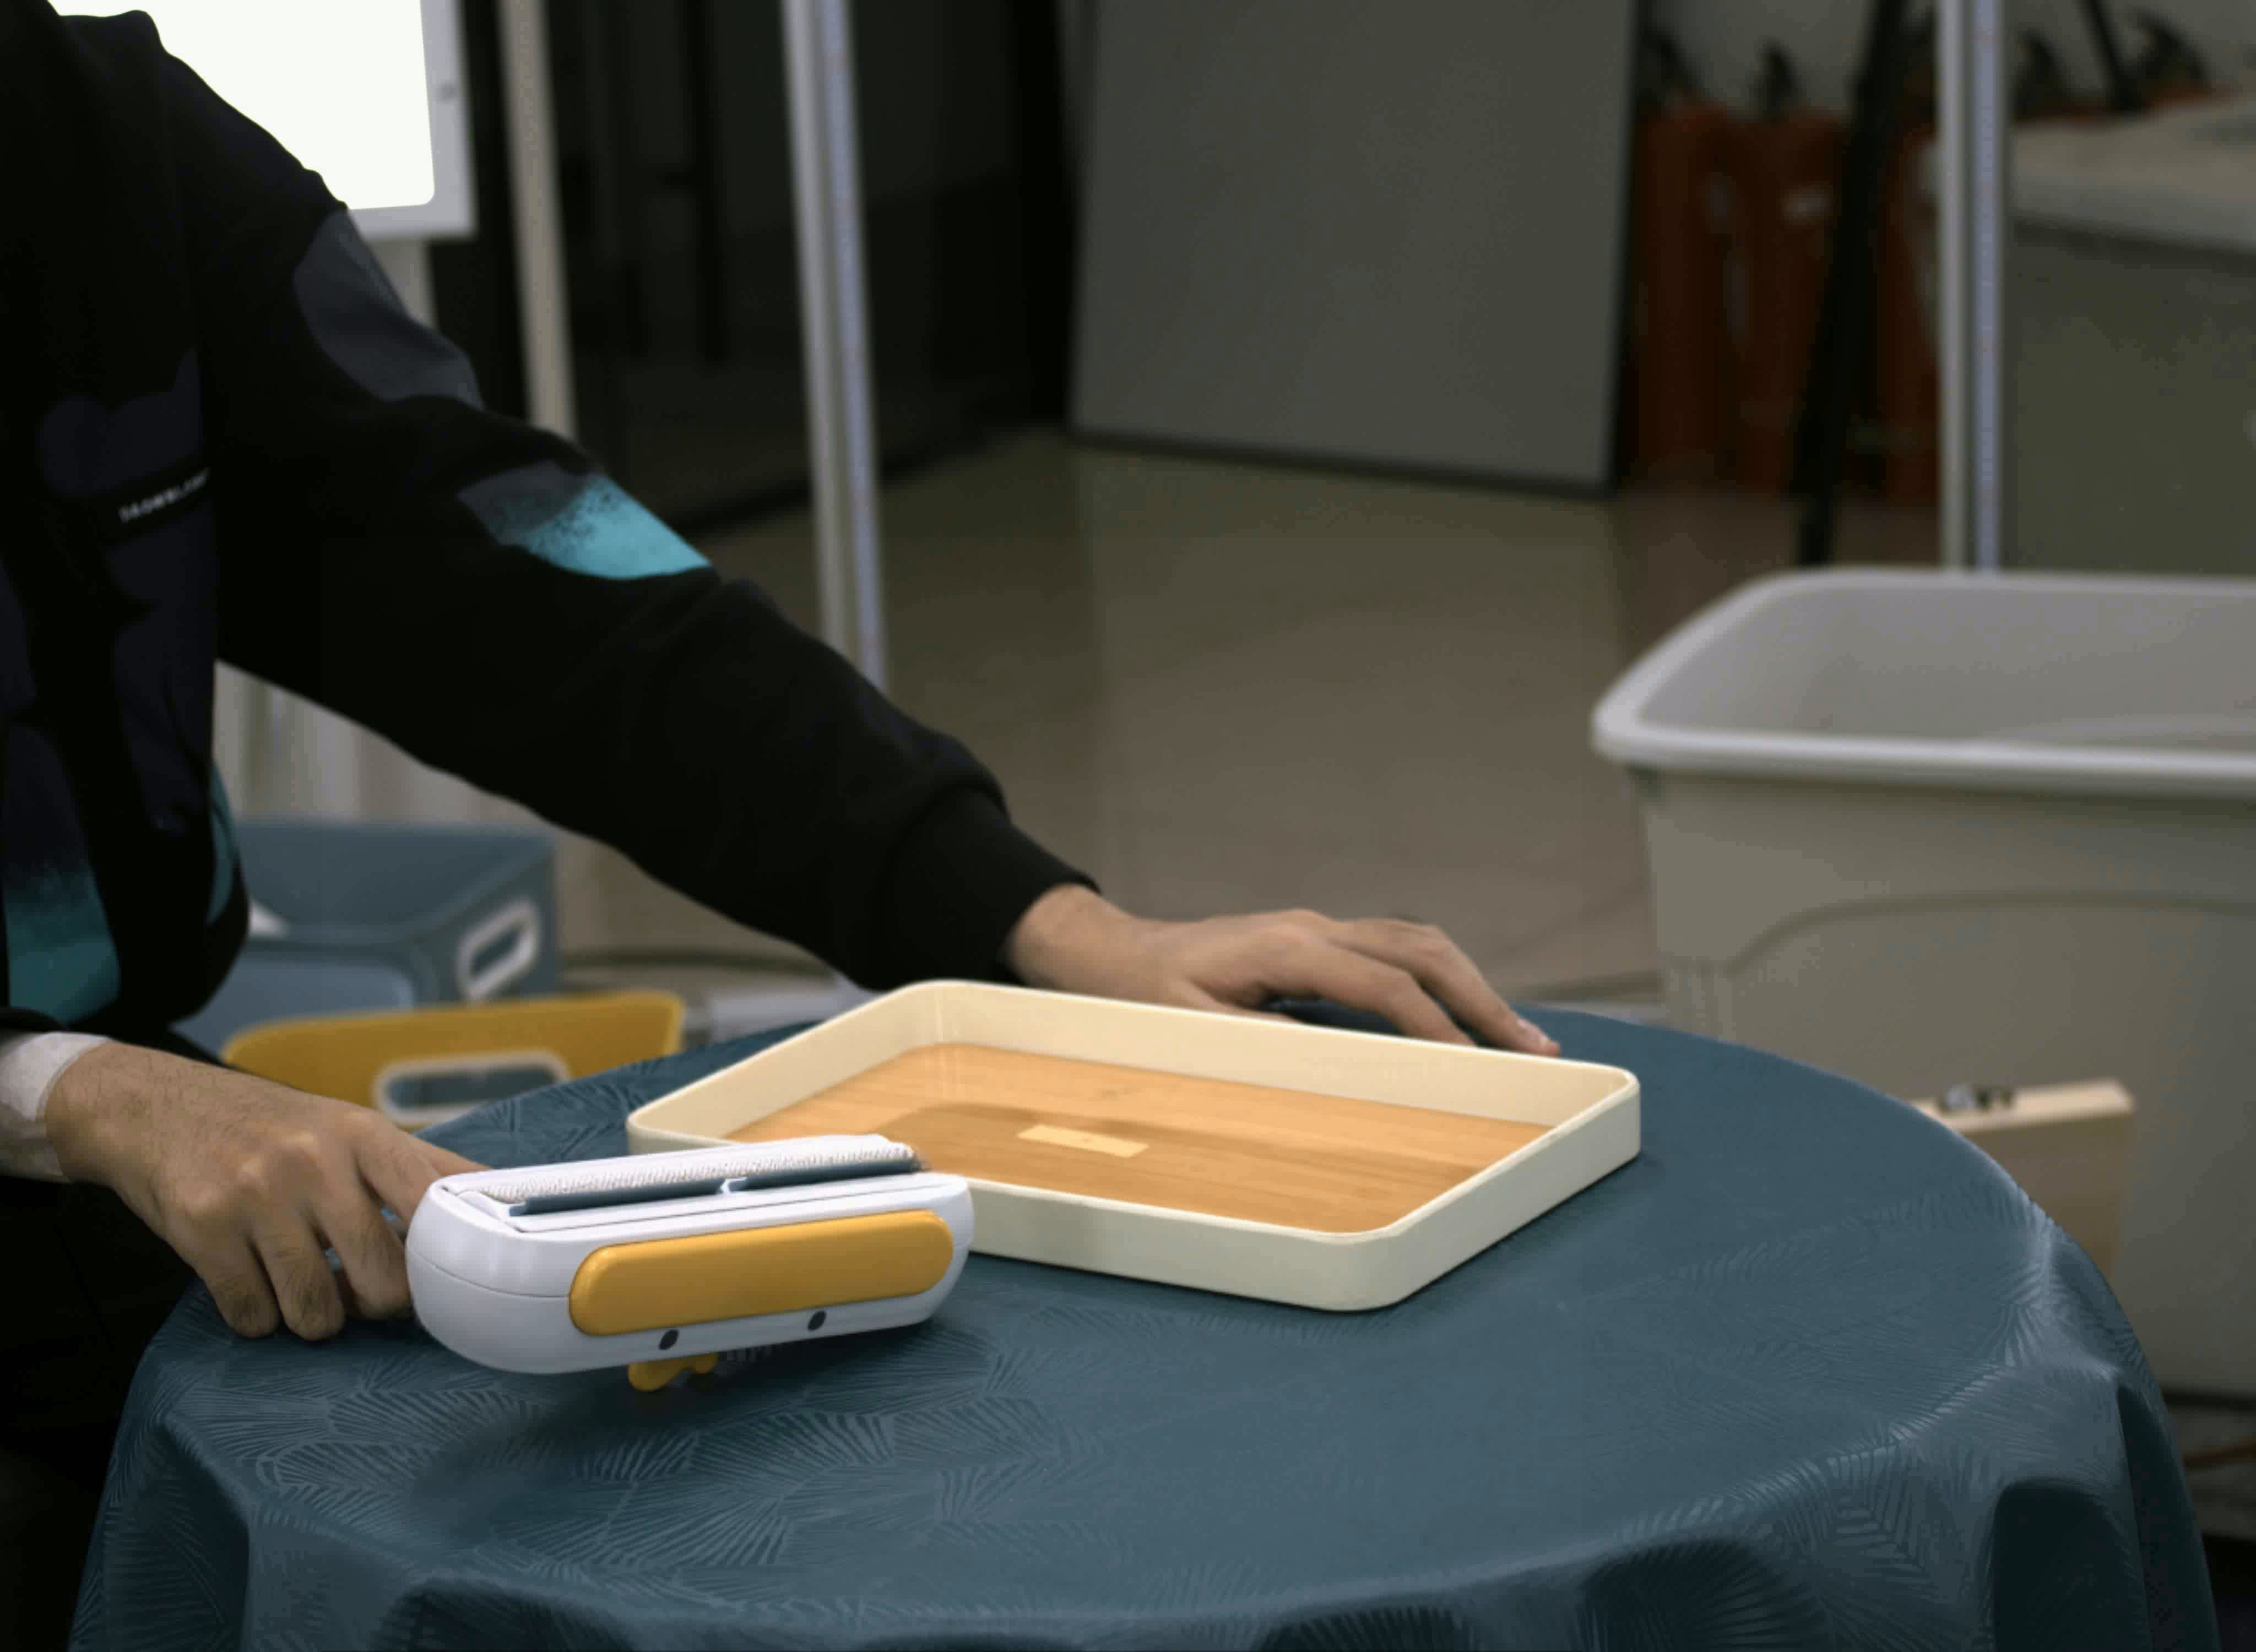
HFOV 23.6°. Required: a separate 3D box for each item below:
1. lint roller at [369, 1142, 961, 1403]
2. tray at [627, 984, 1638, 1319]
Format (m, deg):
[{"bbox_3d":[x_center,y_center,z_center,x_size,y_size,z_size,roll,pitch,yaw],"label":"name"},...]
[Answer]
[{"bbox_3d":[-0.171,0.128,1.655,0.188,0.075,0.194,-8,11,-38],"label":"lint roller"},{"bbox_3d":[0.001,0.104,1.785,0.302,0.028,0.188,6,18,35],"label":"tray"}]
